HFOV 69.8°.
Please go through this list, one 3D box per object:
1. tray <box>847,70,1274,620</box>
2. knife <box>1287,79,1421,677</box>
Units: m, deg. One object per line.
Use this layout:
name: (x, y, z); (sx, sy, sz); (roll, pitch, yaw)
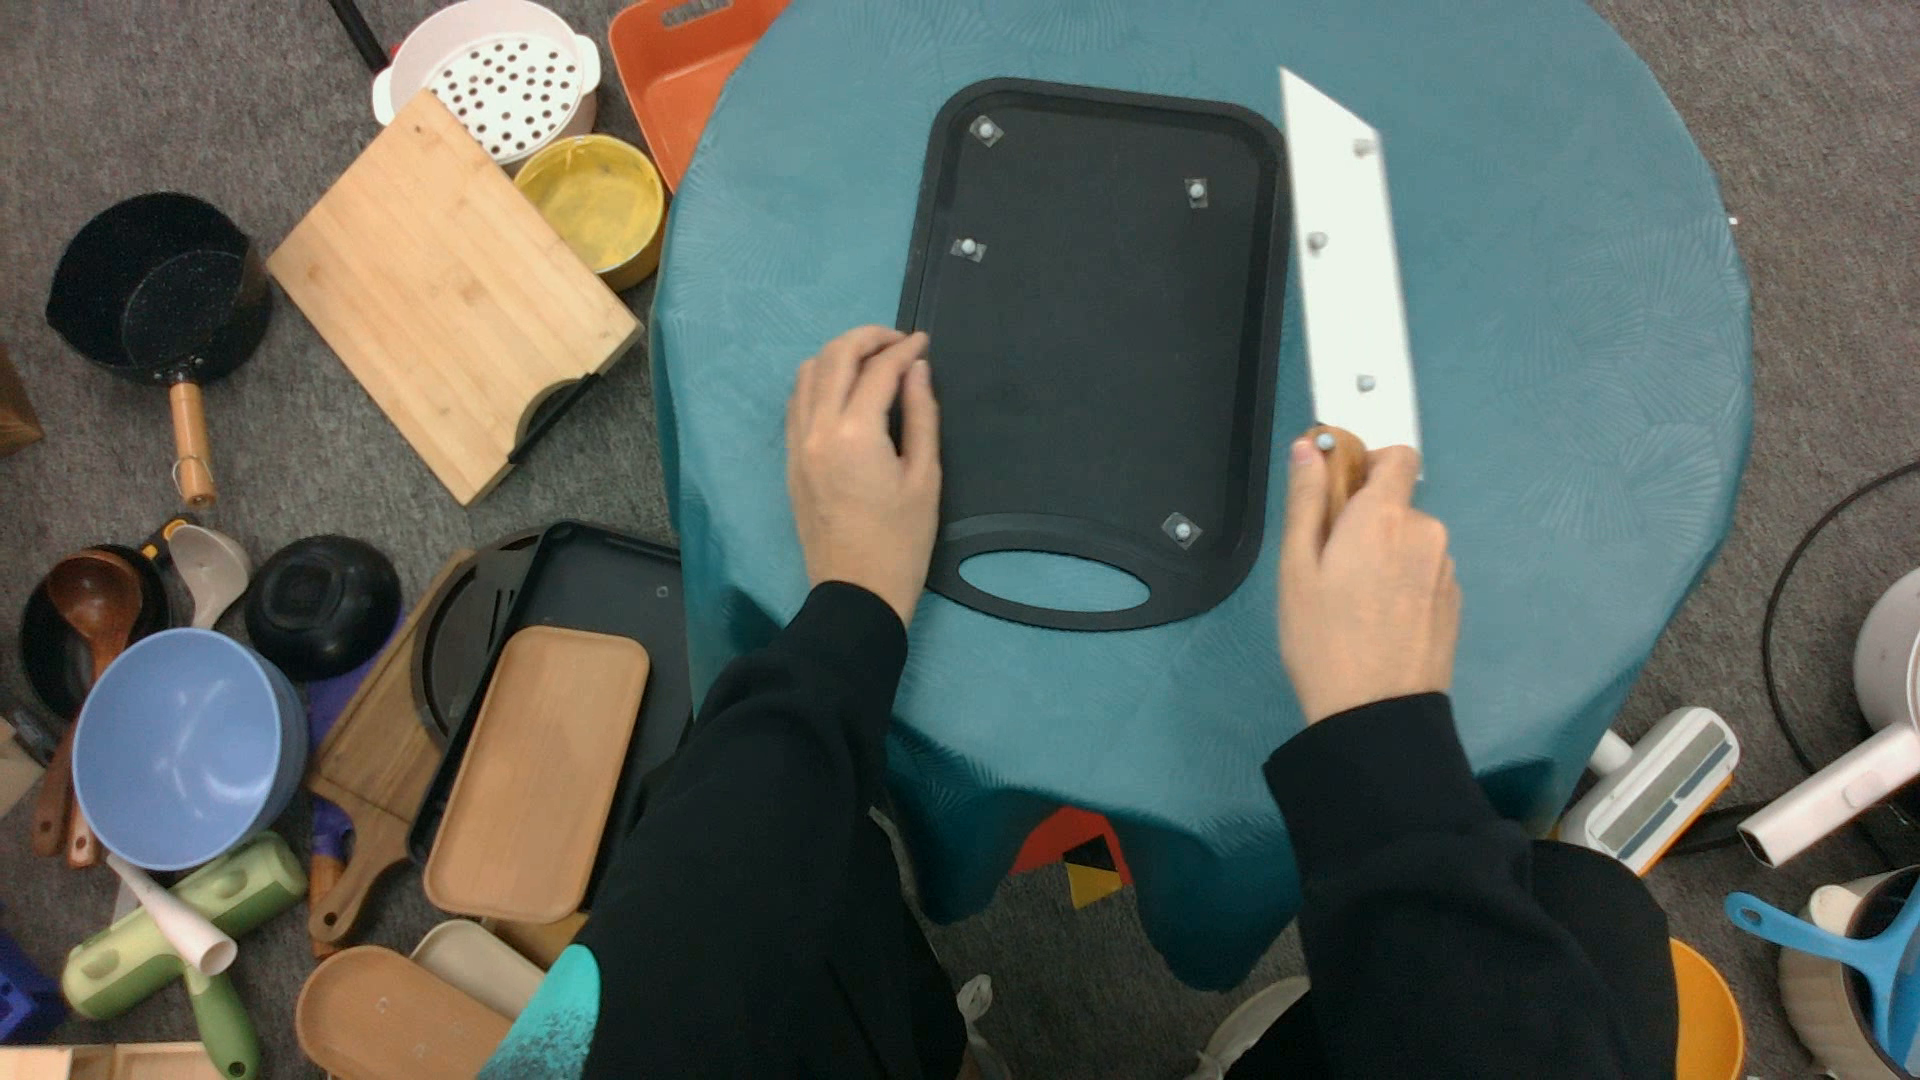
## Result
tray: (0.059, -0.114, 0.750); (0.211, 0.010, 0.326); (8, 71, 3)
knife: (0.197, -0.081, 0.674); (0.093, 0.021, 0.306); (14, 69, -40)
